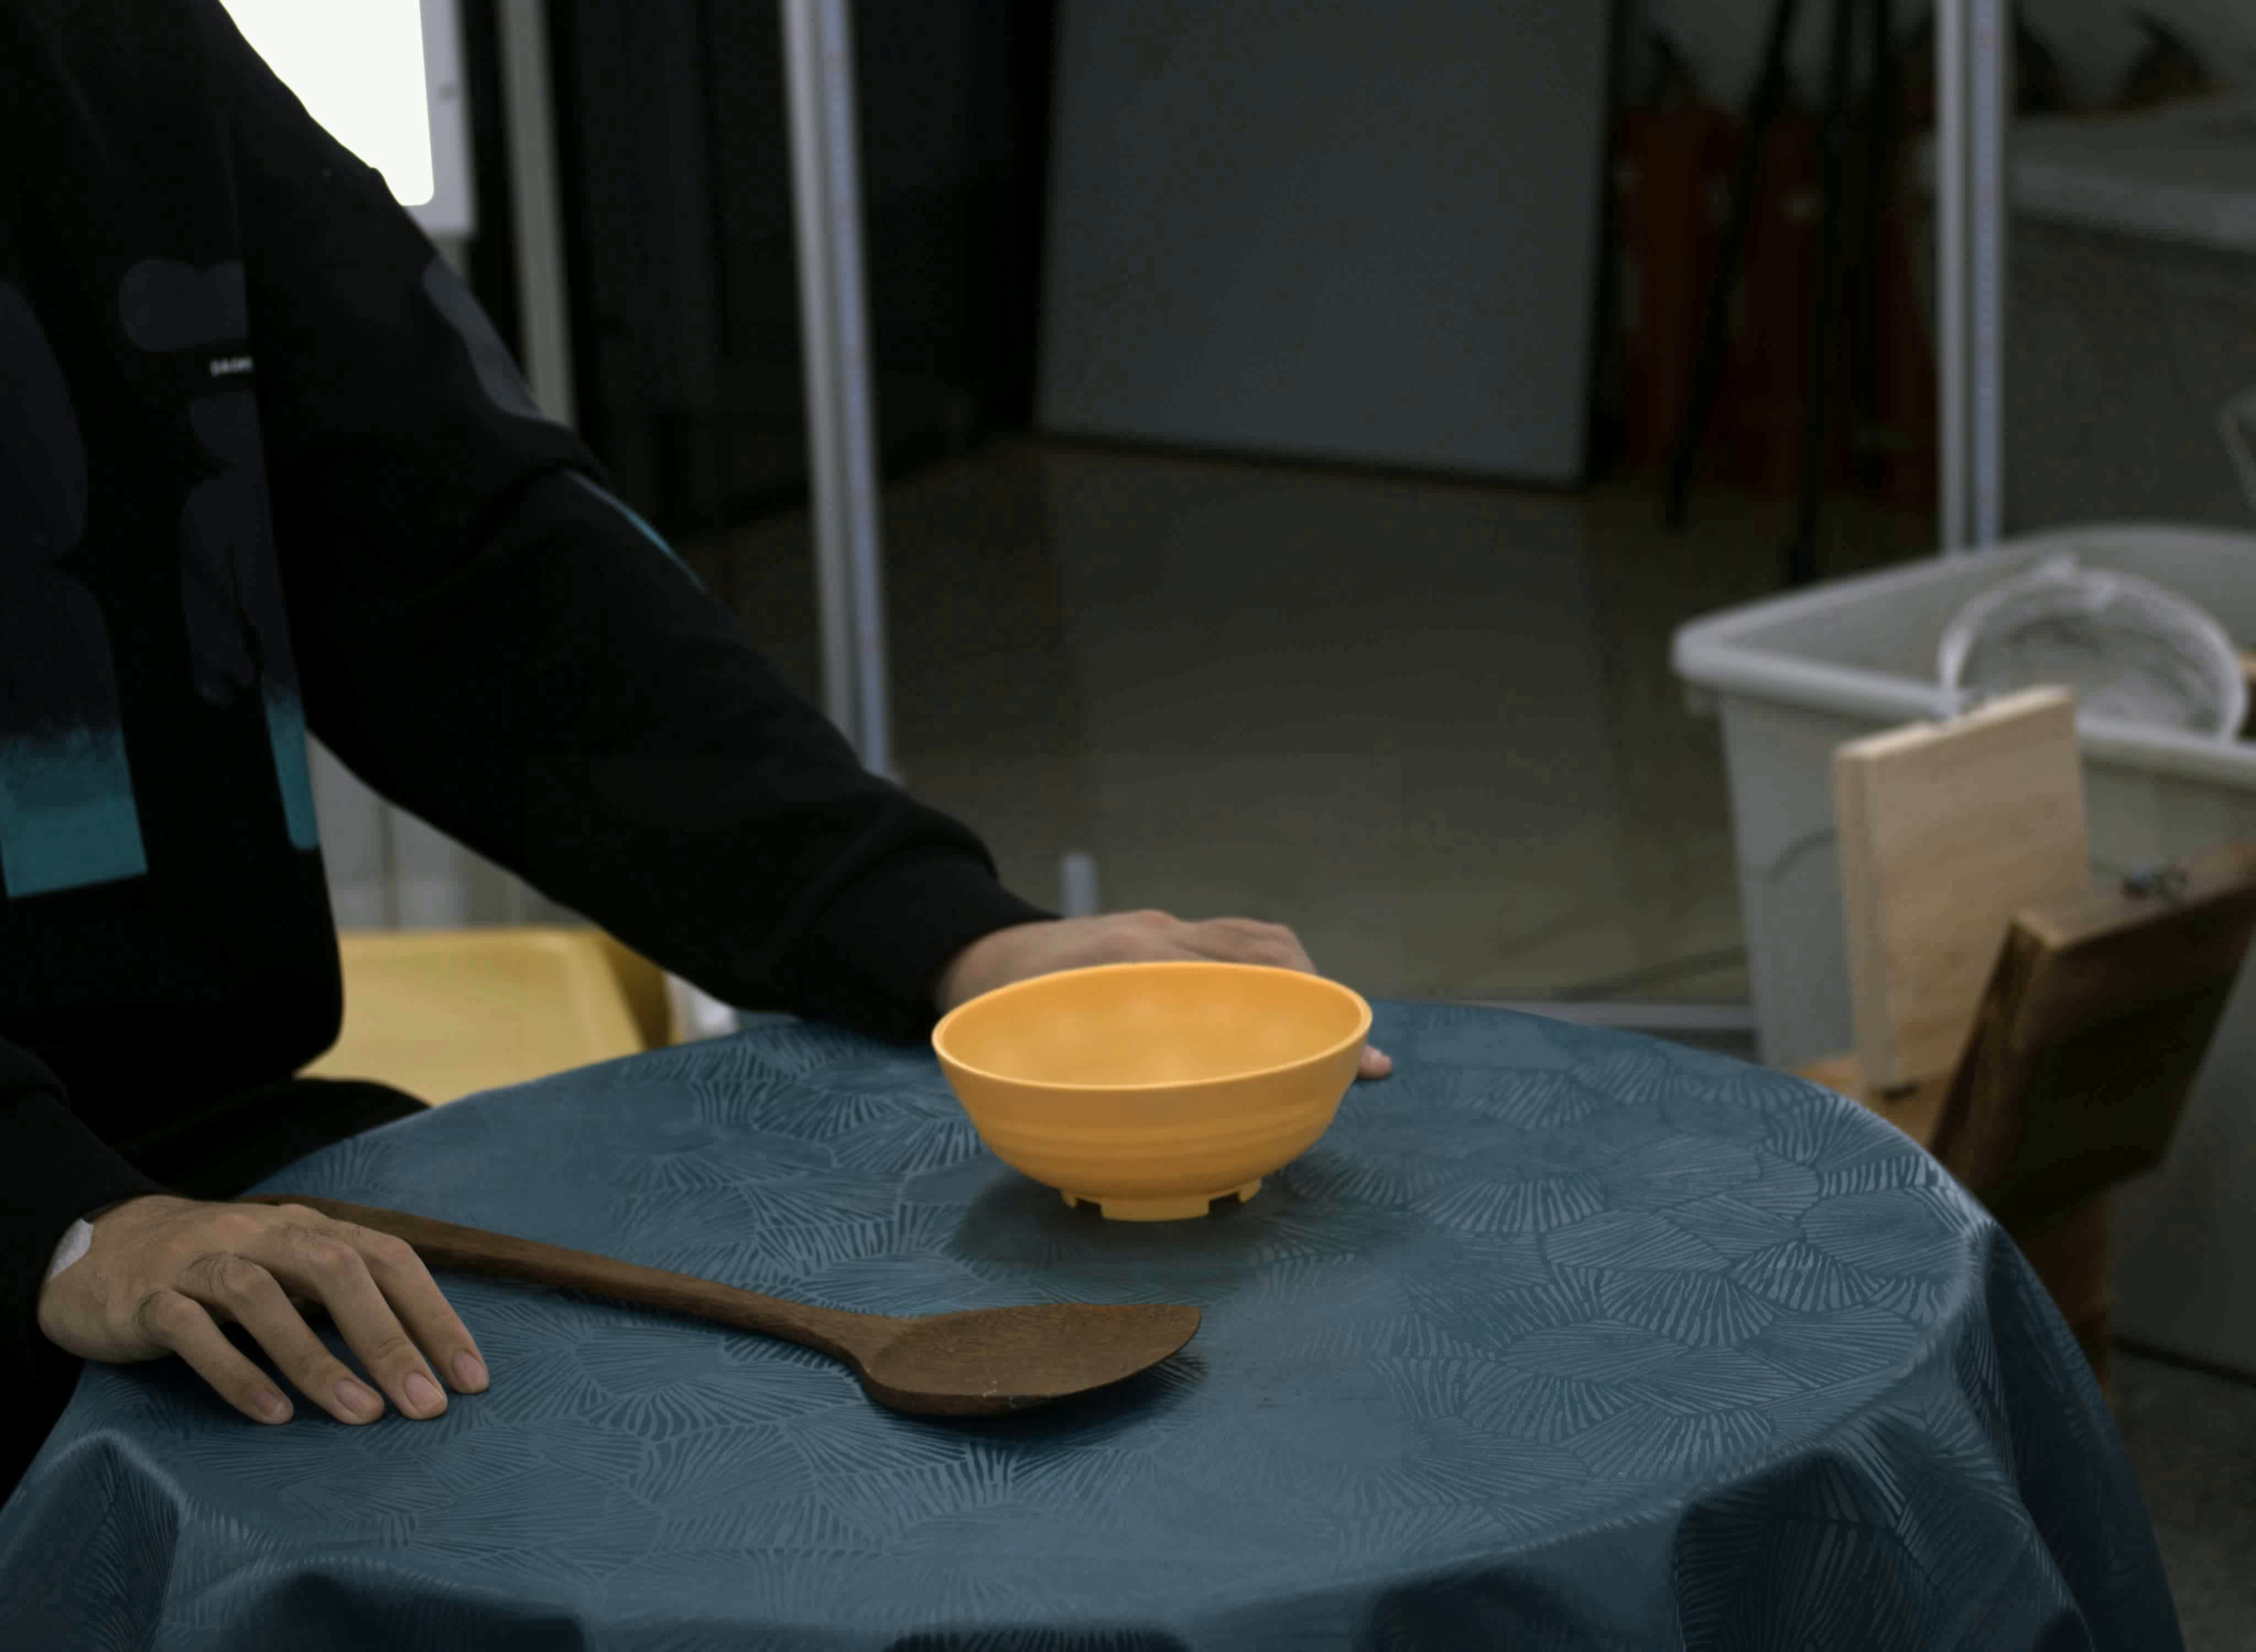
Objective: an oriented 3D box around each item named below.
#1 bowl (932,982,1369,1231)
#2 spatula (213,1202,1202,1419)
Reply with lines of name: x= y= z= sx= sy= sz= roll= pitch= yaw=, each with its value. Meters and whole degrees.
bowl: x=0.008 y=0.095 z=1.761 sx=0.143 sy=0.061 sz=0.145 roll=-3 pitch=11 yaw=0
spatula: x=-0.147 y=0.146 z=1.686 sx=0.388 sy=0.016 sz=0.094 roll=6 pitch=17 yaw=37
